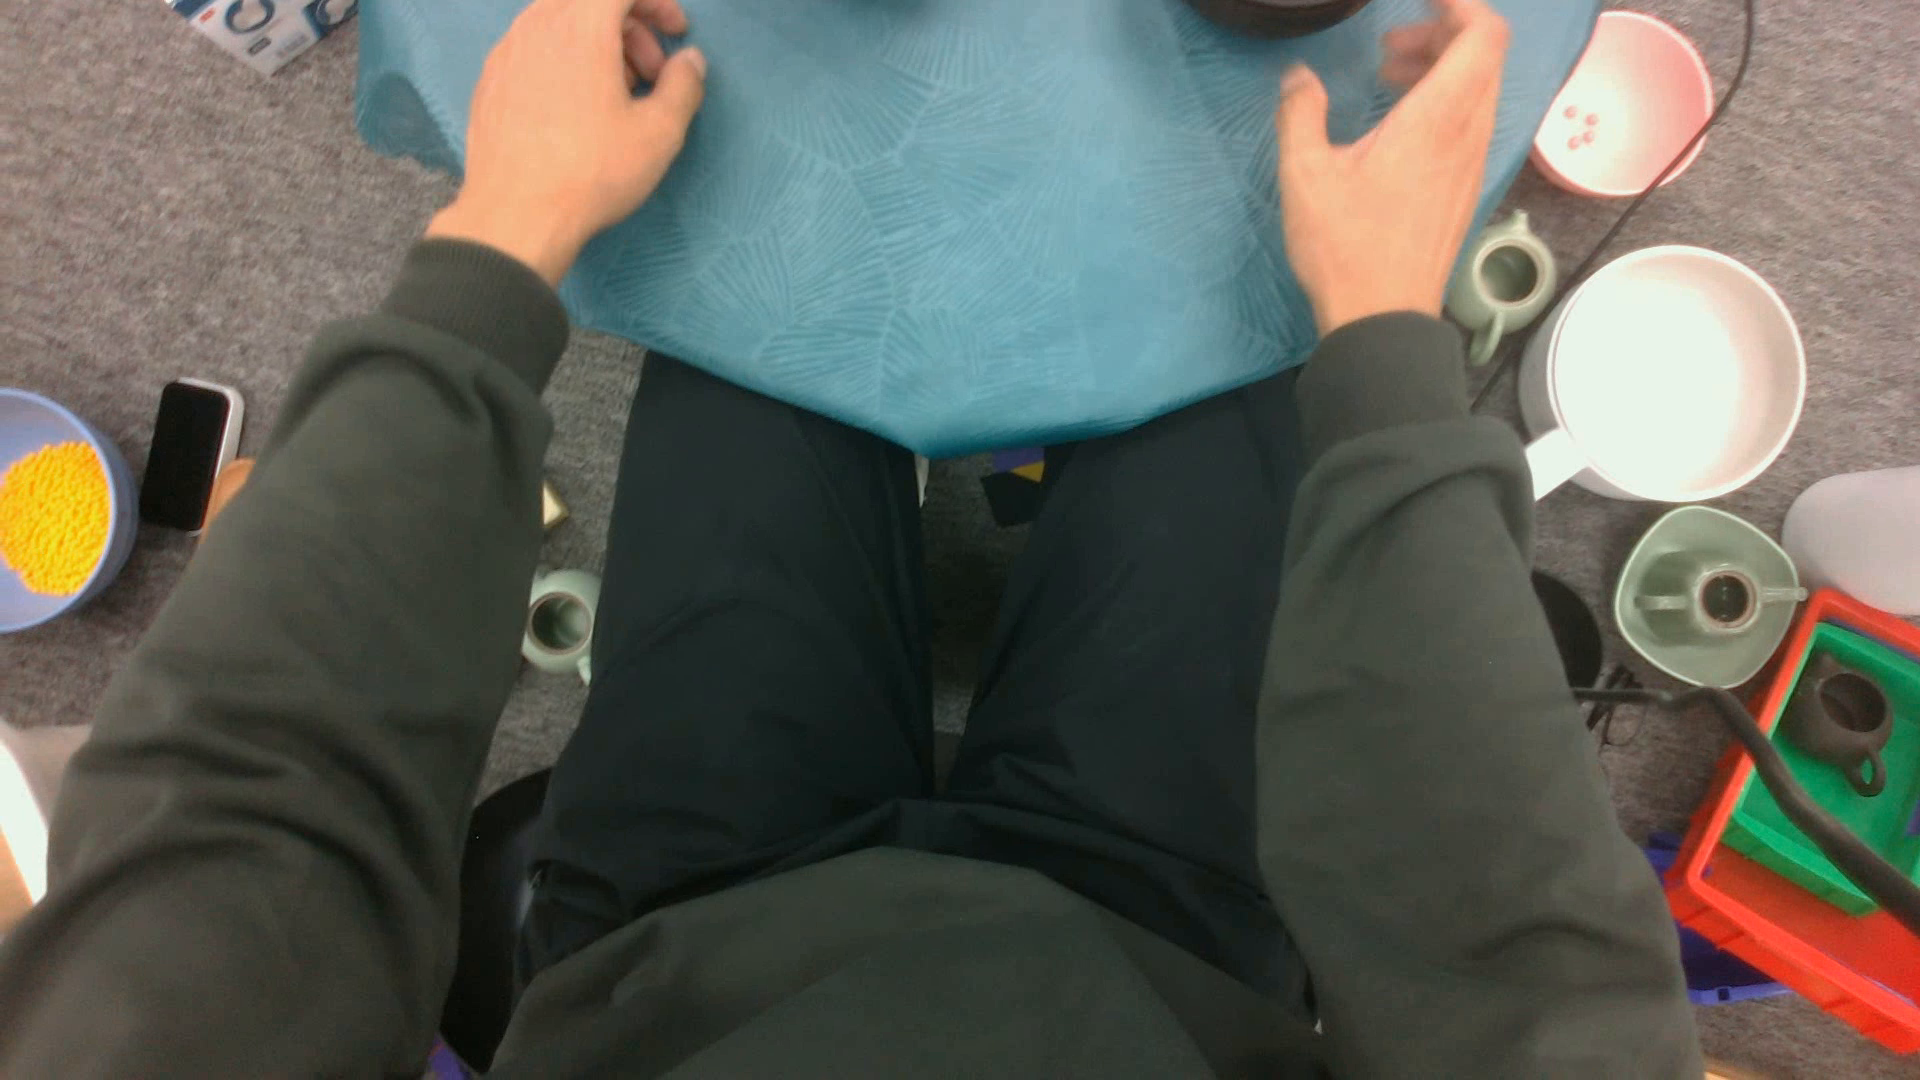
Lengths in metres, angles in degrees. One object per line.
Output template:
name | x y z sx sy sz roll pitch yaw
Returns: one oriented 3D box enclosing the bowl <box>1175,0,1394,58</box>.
bowl | 0.145 -0.273 0.616 0.118 0.070 0.118 0 89 2
